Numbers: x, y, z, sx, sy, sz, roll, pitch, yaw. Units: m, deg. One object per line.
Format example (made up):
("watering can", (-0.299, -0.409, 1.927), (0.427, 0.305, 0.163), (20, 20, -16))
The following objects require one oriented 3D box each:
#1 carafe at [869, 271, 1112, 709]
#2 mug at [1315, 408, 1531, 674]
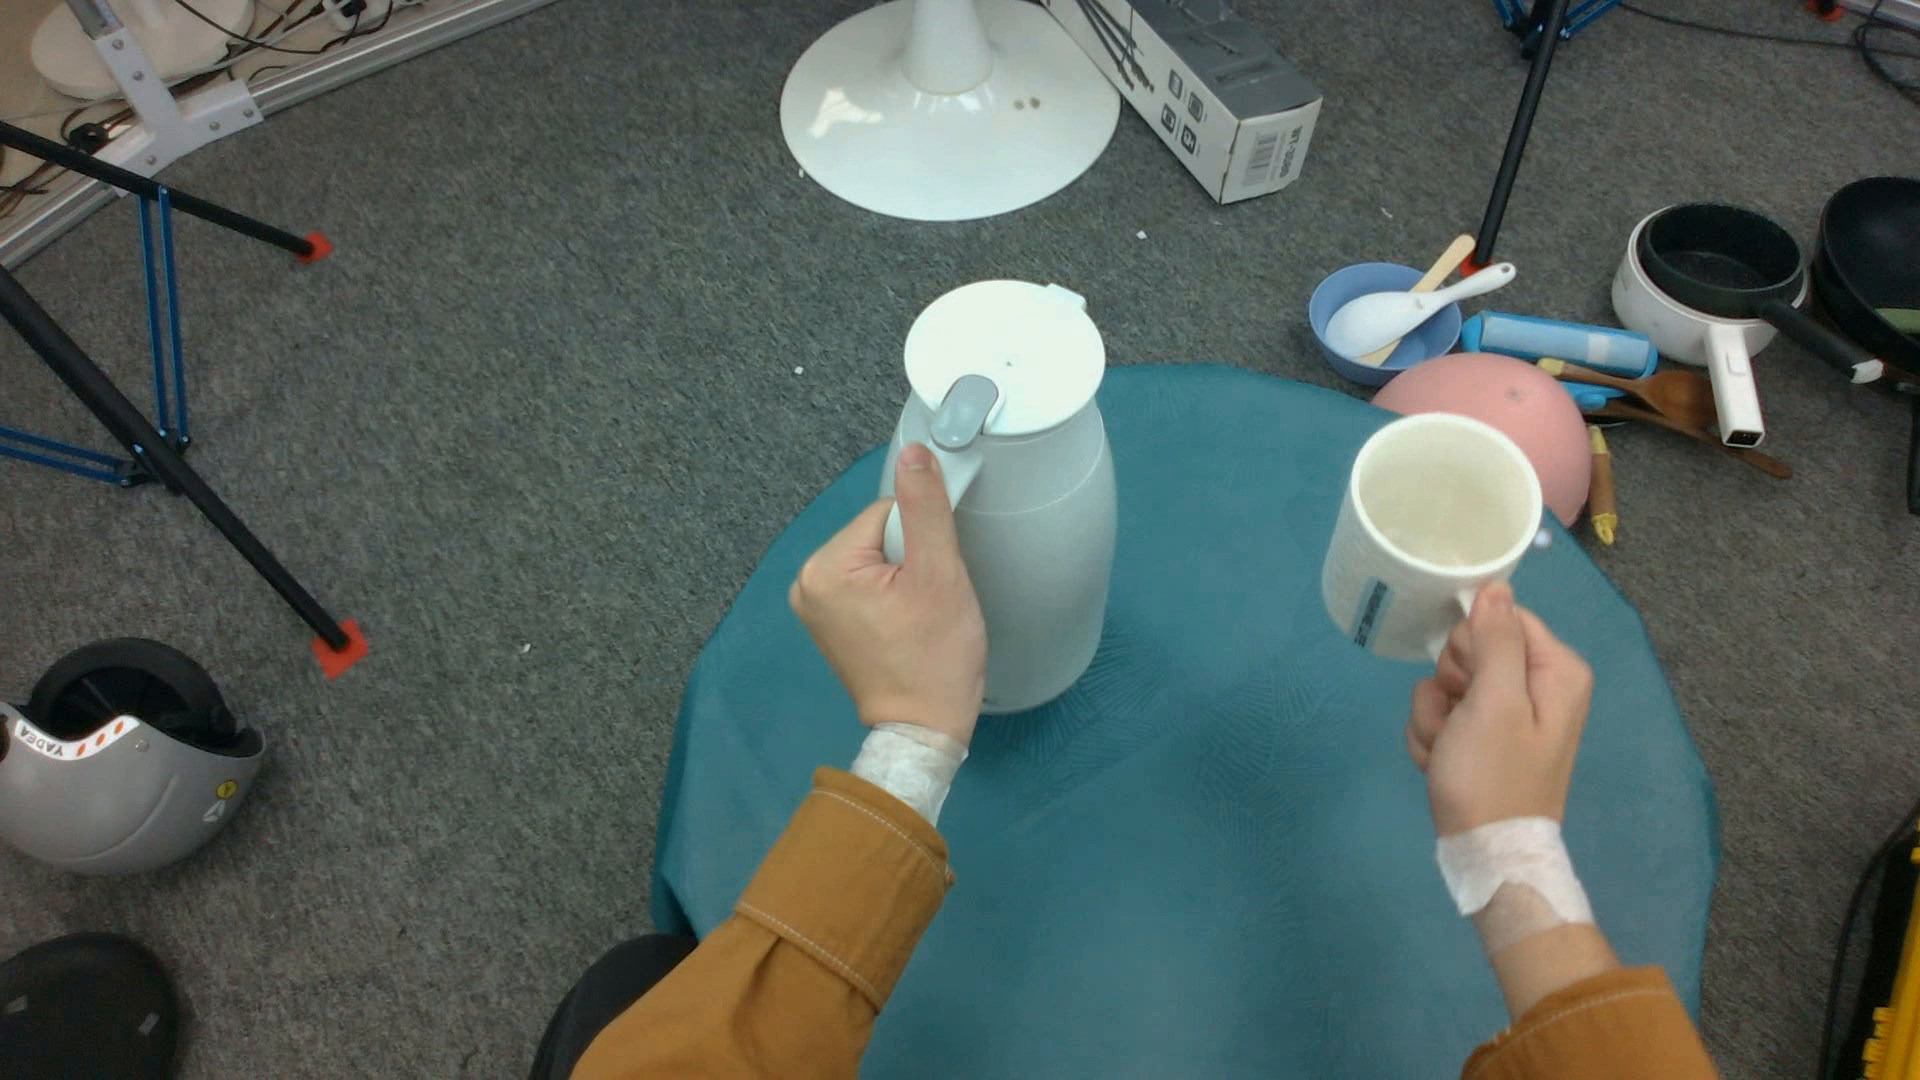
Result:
("carafe", (0.008, -0.010, 0.709), (0.132, 0.247, 0.168), (26, 60, 14))
("mug", (0.231, 0.011, 0.680), (0.085, 0.101, 0.118), (-14, 60, -4))
